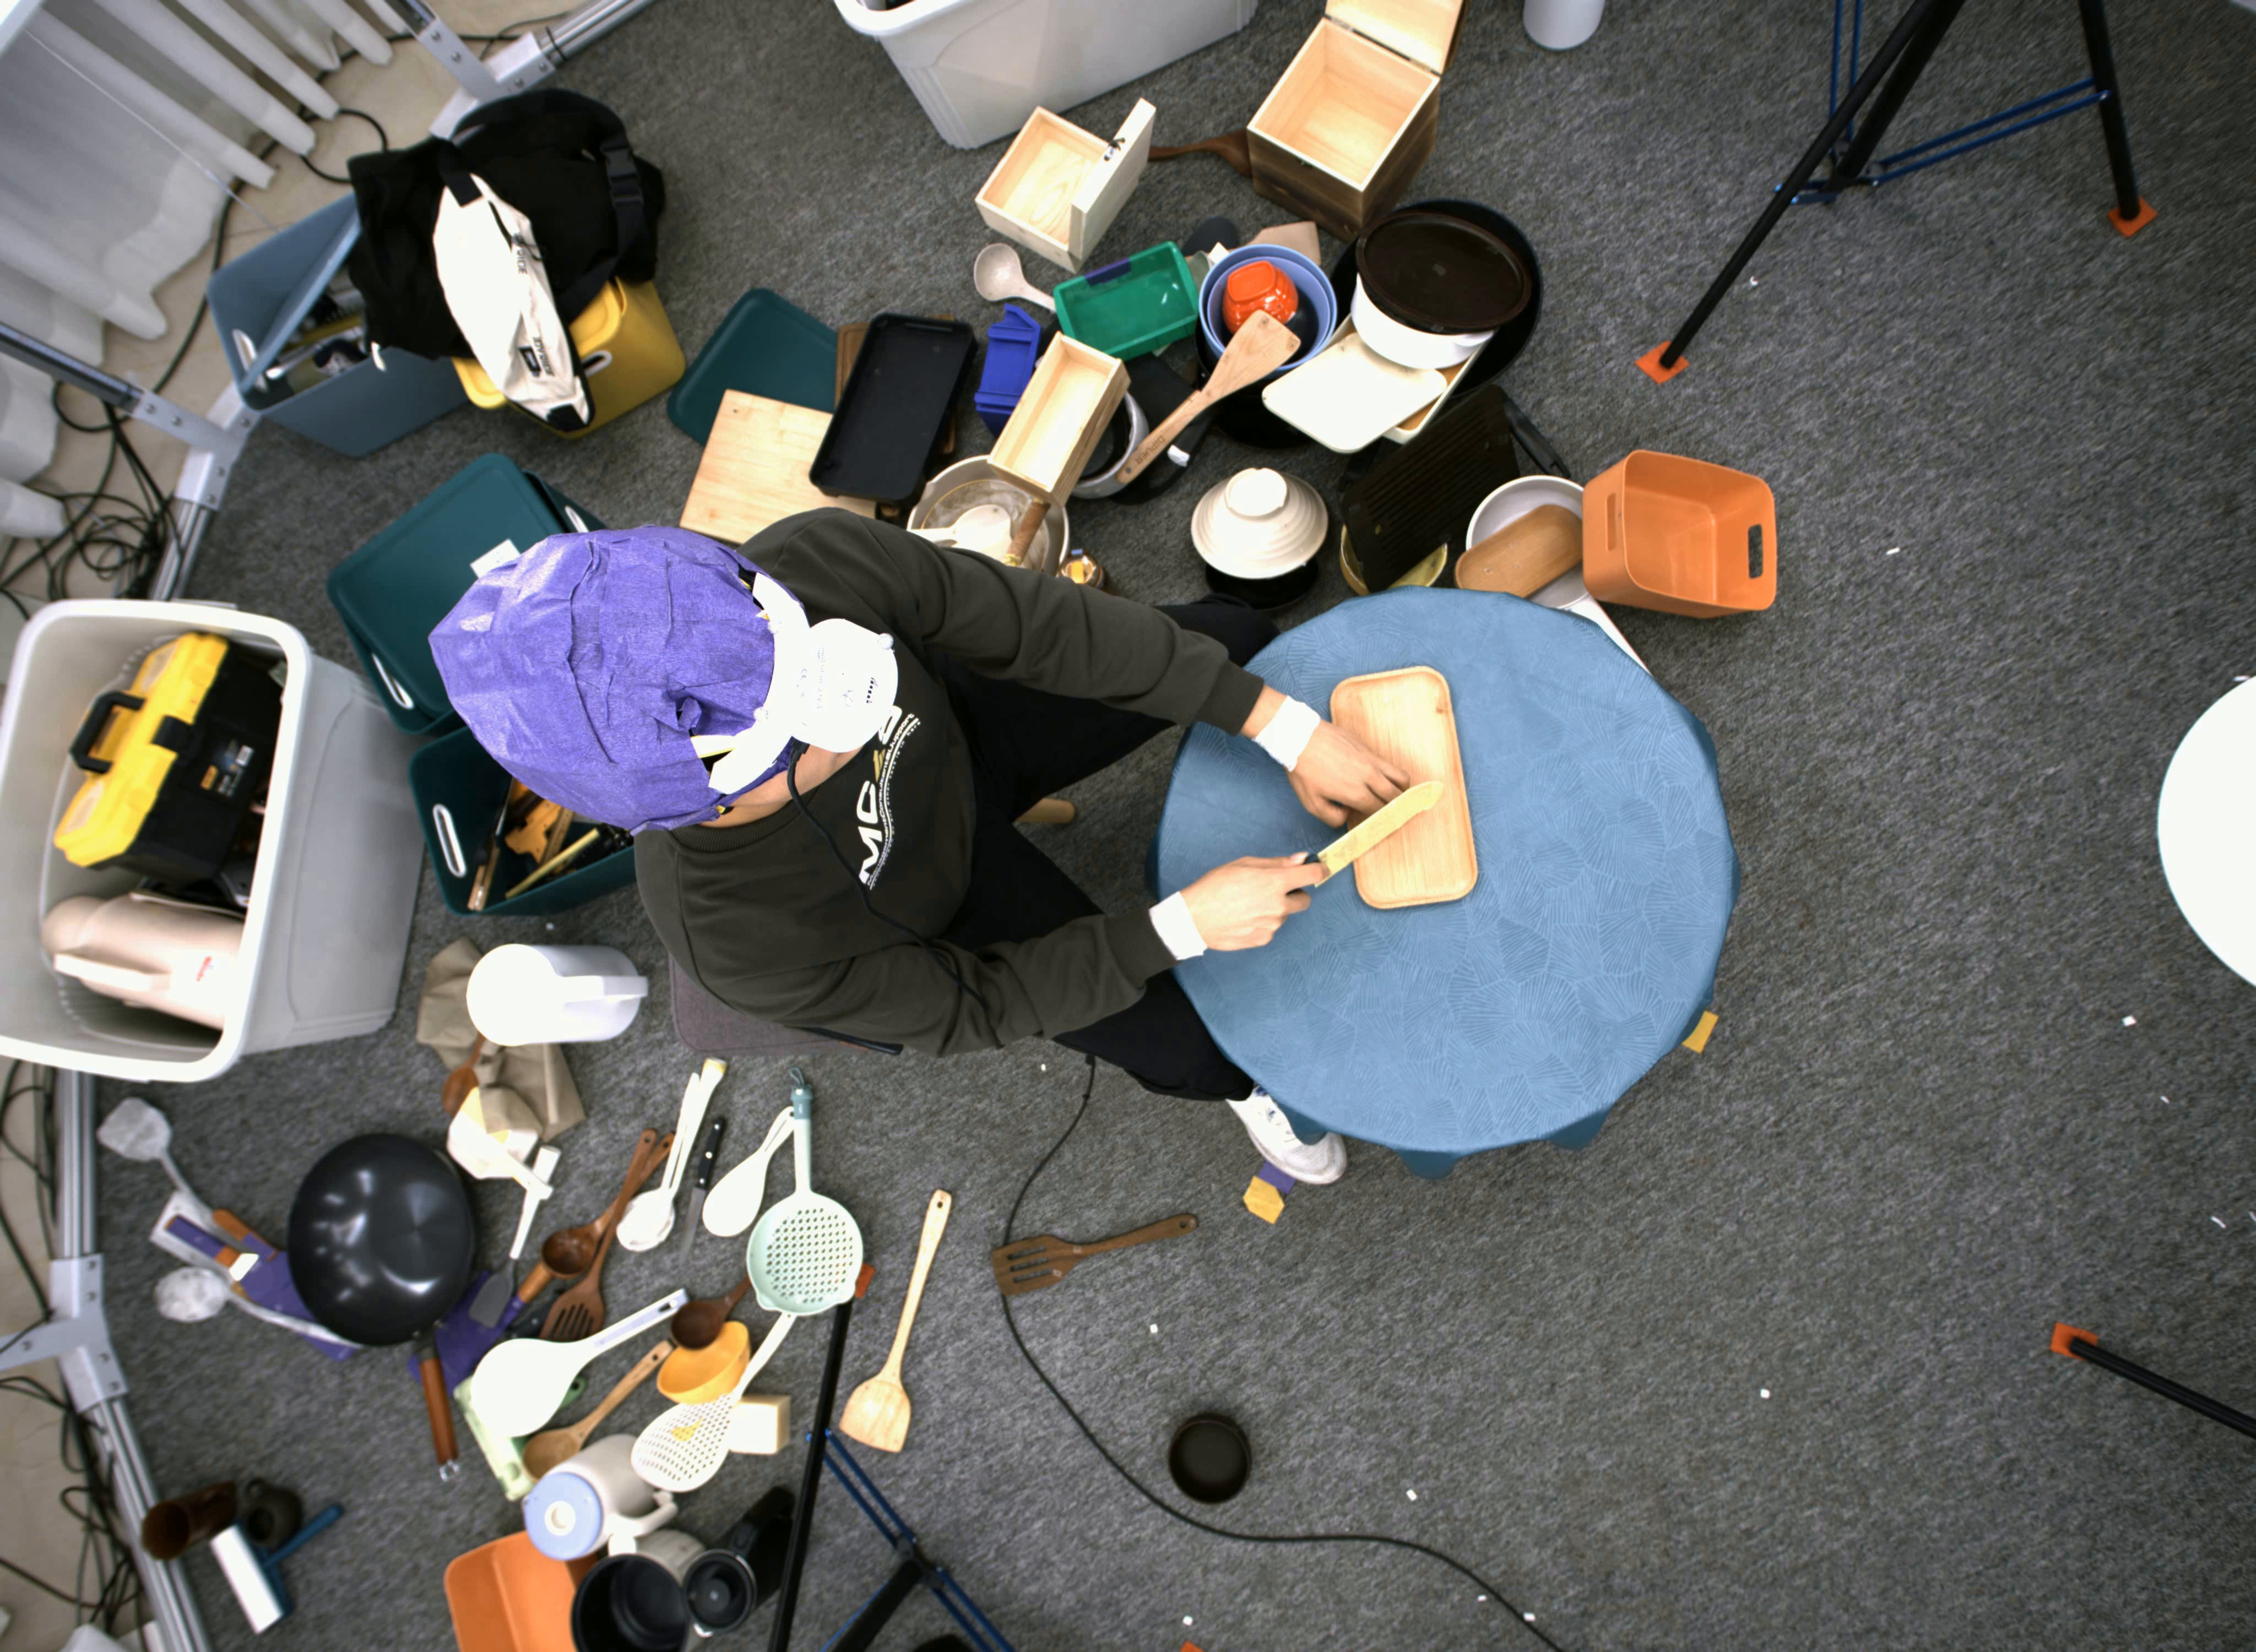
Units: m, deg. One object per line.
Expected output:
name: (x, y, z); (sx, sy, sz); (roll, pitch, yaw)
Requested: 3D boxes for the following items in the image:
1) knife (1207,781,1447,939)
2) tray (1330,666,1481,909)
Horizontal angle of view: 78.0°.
knife: (0.206, 0.033, 1.406); (0.289, 0.082, 0.027); (-32, 62, -1)
tray: (0.293, -0.042, 1.457); (0.131, 0.023, 0.250); (-8, 88, 13)
